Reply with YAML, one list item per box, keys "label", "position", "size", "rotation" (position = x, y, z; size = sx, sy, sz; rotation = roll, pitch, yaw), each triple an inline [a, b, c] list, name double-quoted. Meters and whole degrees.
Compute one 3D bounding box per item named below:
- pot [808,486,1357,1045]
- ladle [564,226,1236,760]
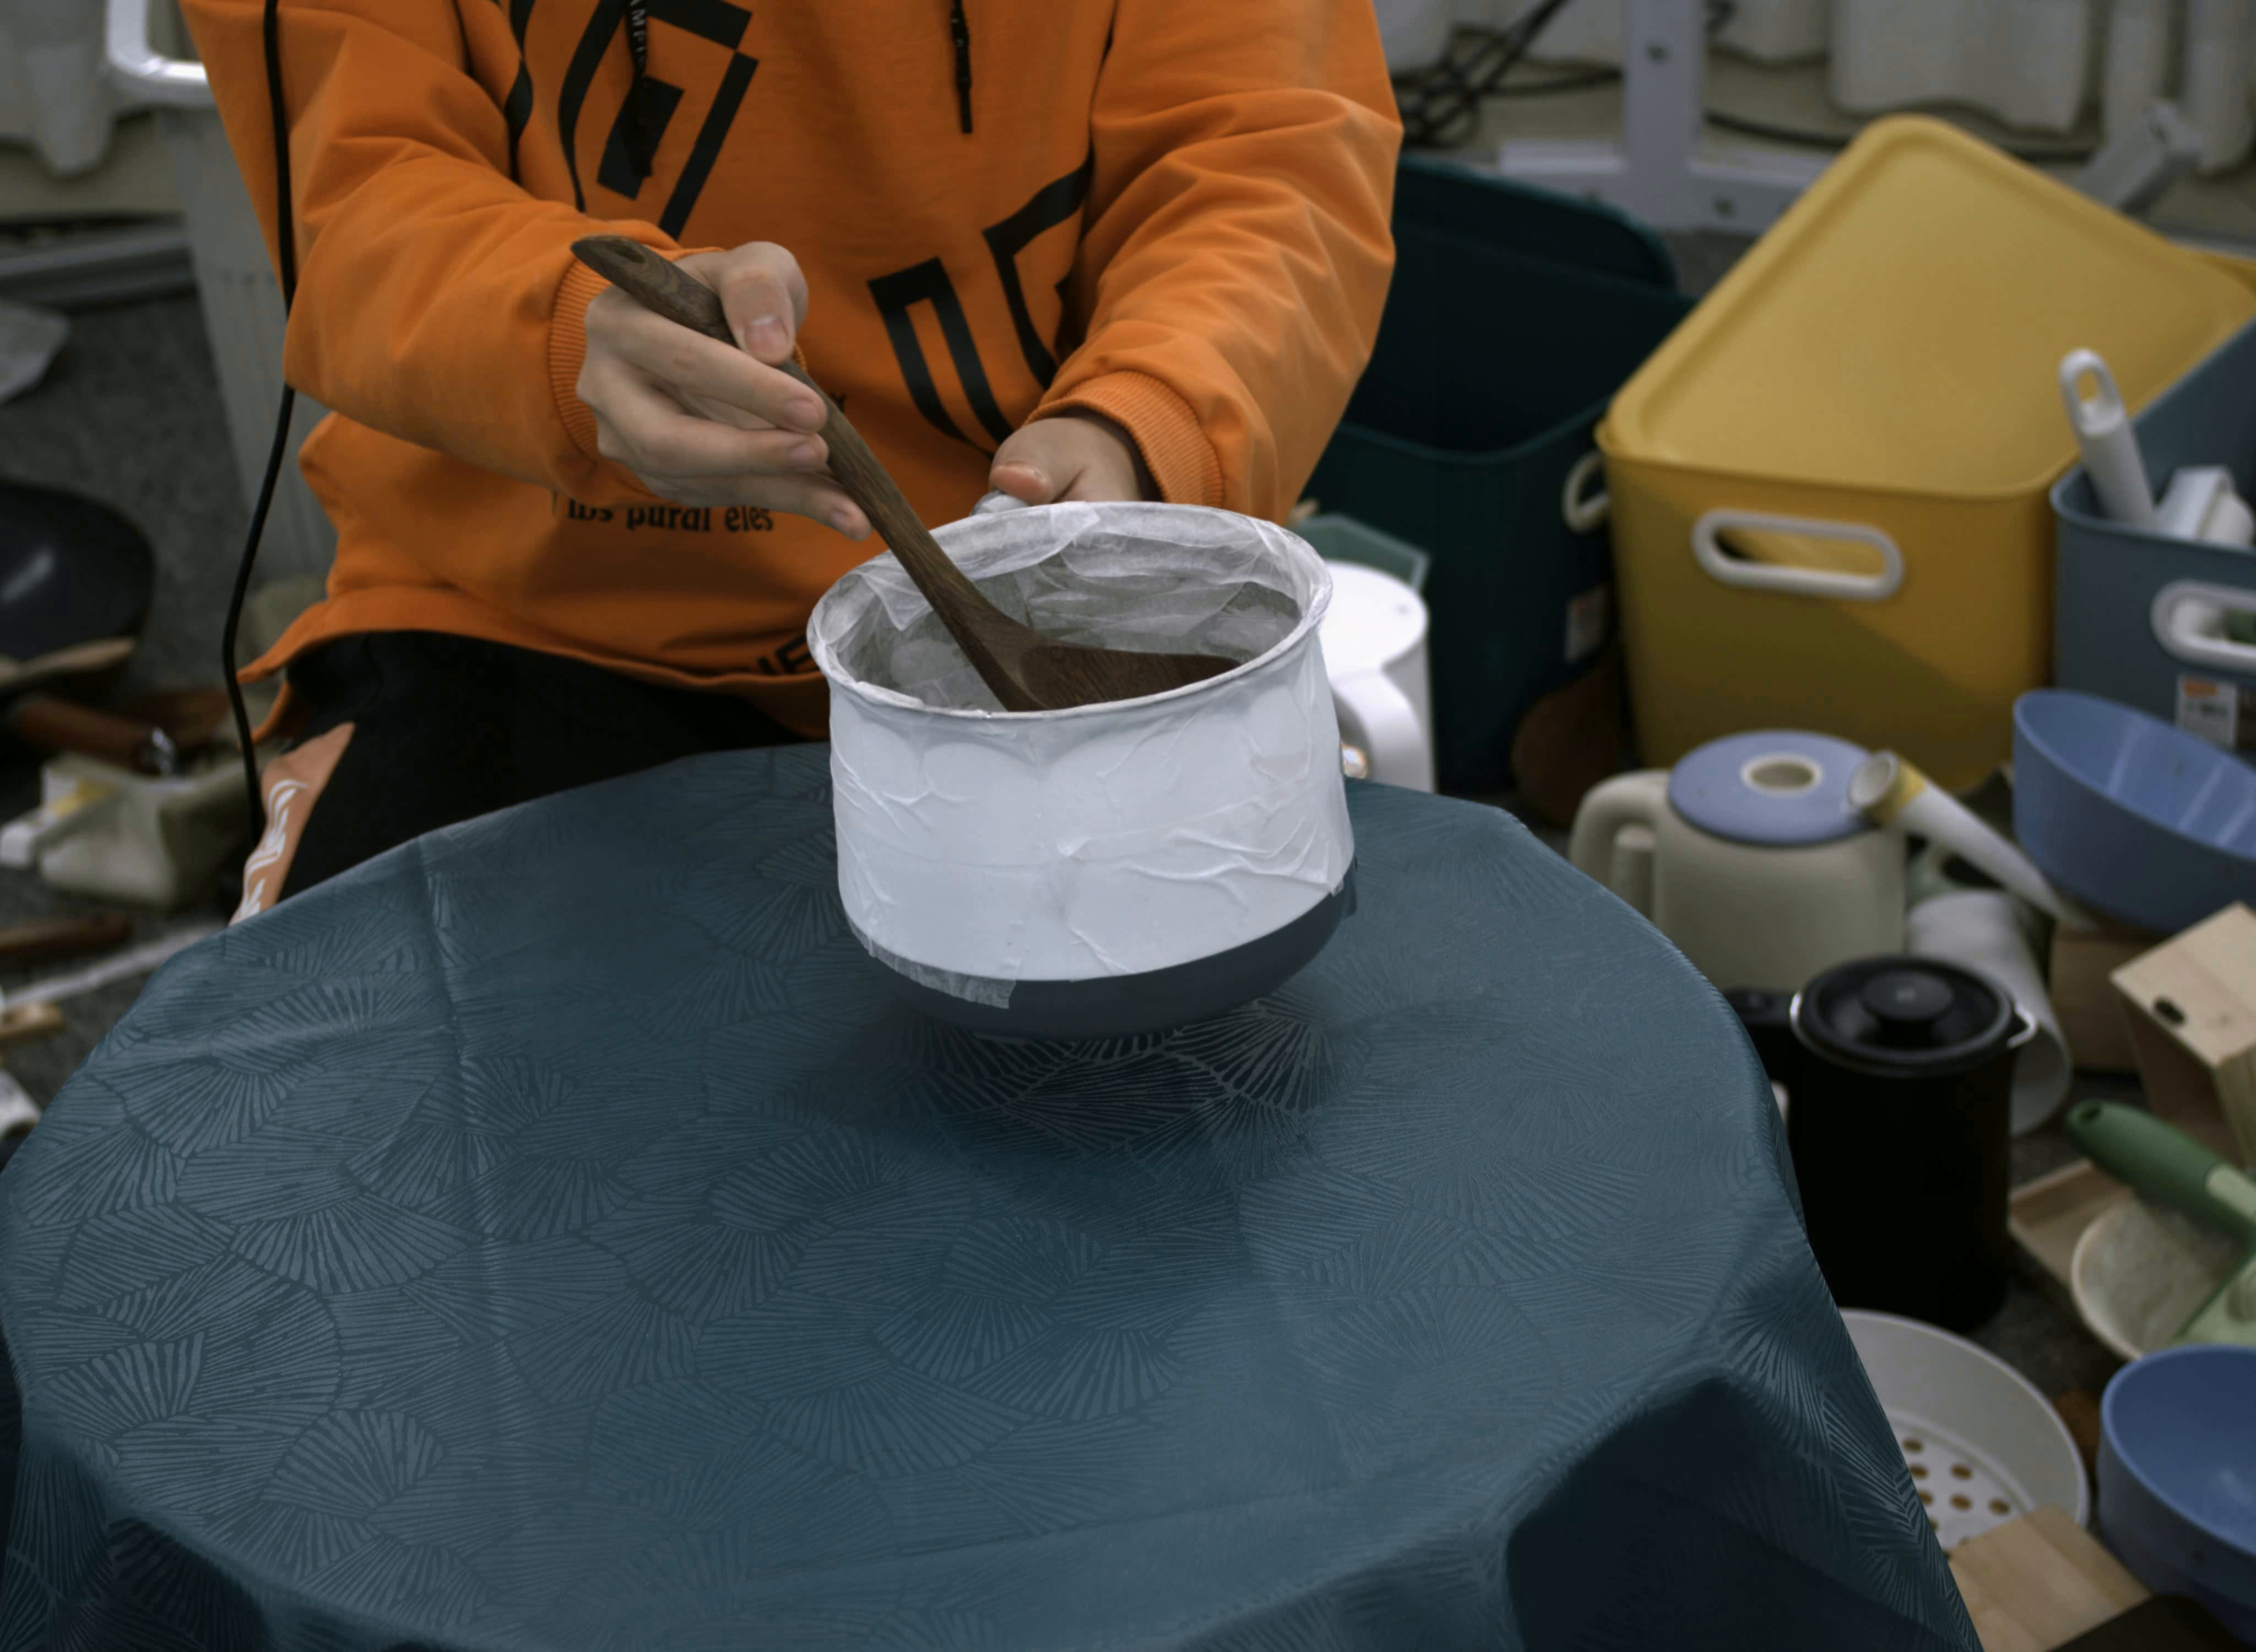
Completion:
- label: "pot"
  position: [-0.021, -0.028, 1.926]
  size: [0.179, 0.135, 0.236]
  rotation: [-11, 25, -13]
- label: "ladle"
  position: [-0.073, -0.123, 1.883]
  size: [0.274, 0.070, 0.077]
  rotation: [47, 23, 5]
